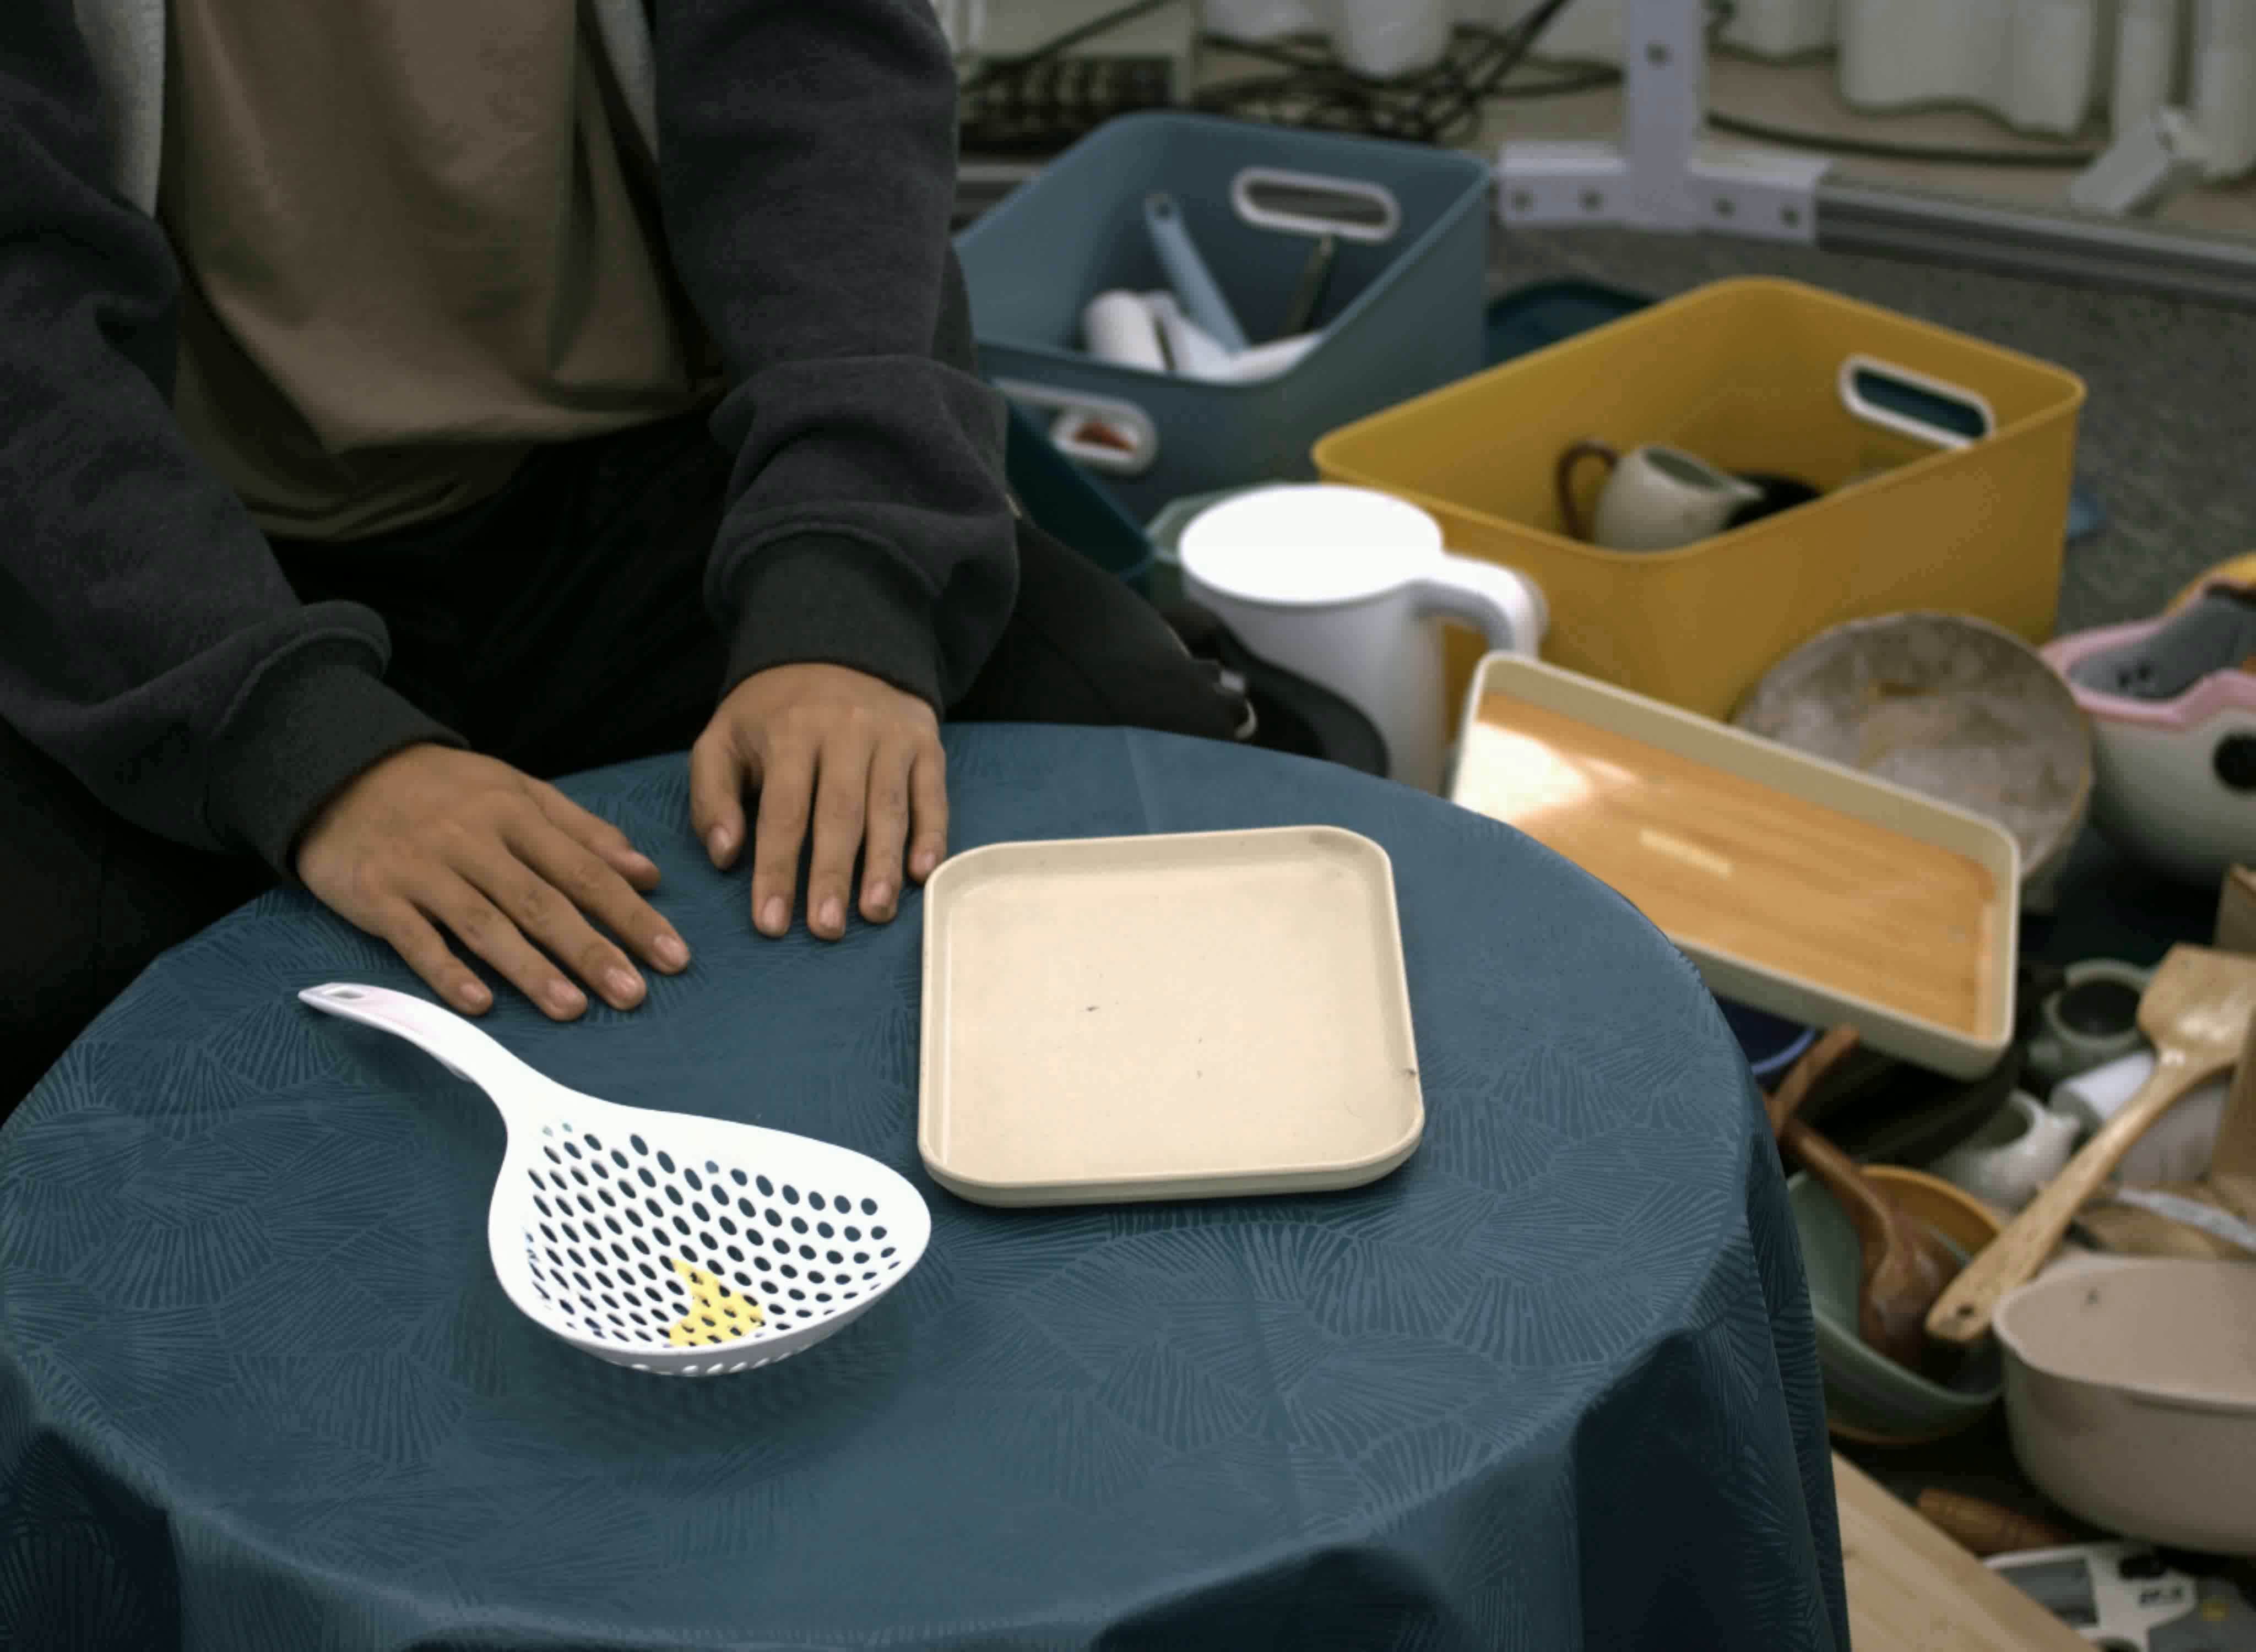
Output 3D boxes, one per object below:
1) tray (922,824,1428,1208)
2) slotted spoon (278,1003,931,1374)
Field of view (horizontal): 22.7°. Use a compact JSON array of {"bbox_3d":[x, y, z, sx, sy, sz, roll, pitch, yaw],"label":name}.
[{"bbox_3d":[0.014,0.065,1.951,0.170,0.017,0.243,-3,27,0],"label":"tray"},{"bbox_3d":[-0.193,0.106,1.866,0.138,0.050,0.348,-21,33,-29],"label":"slotted spoon"}]
